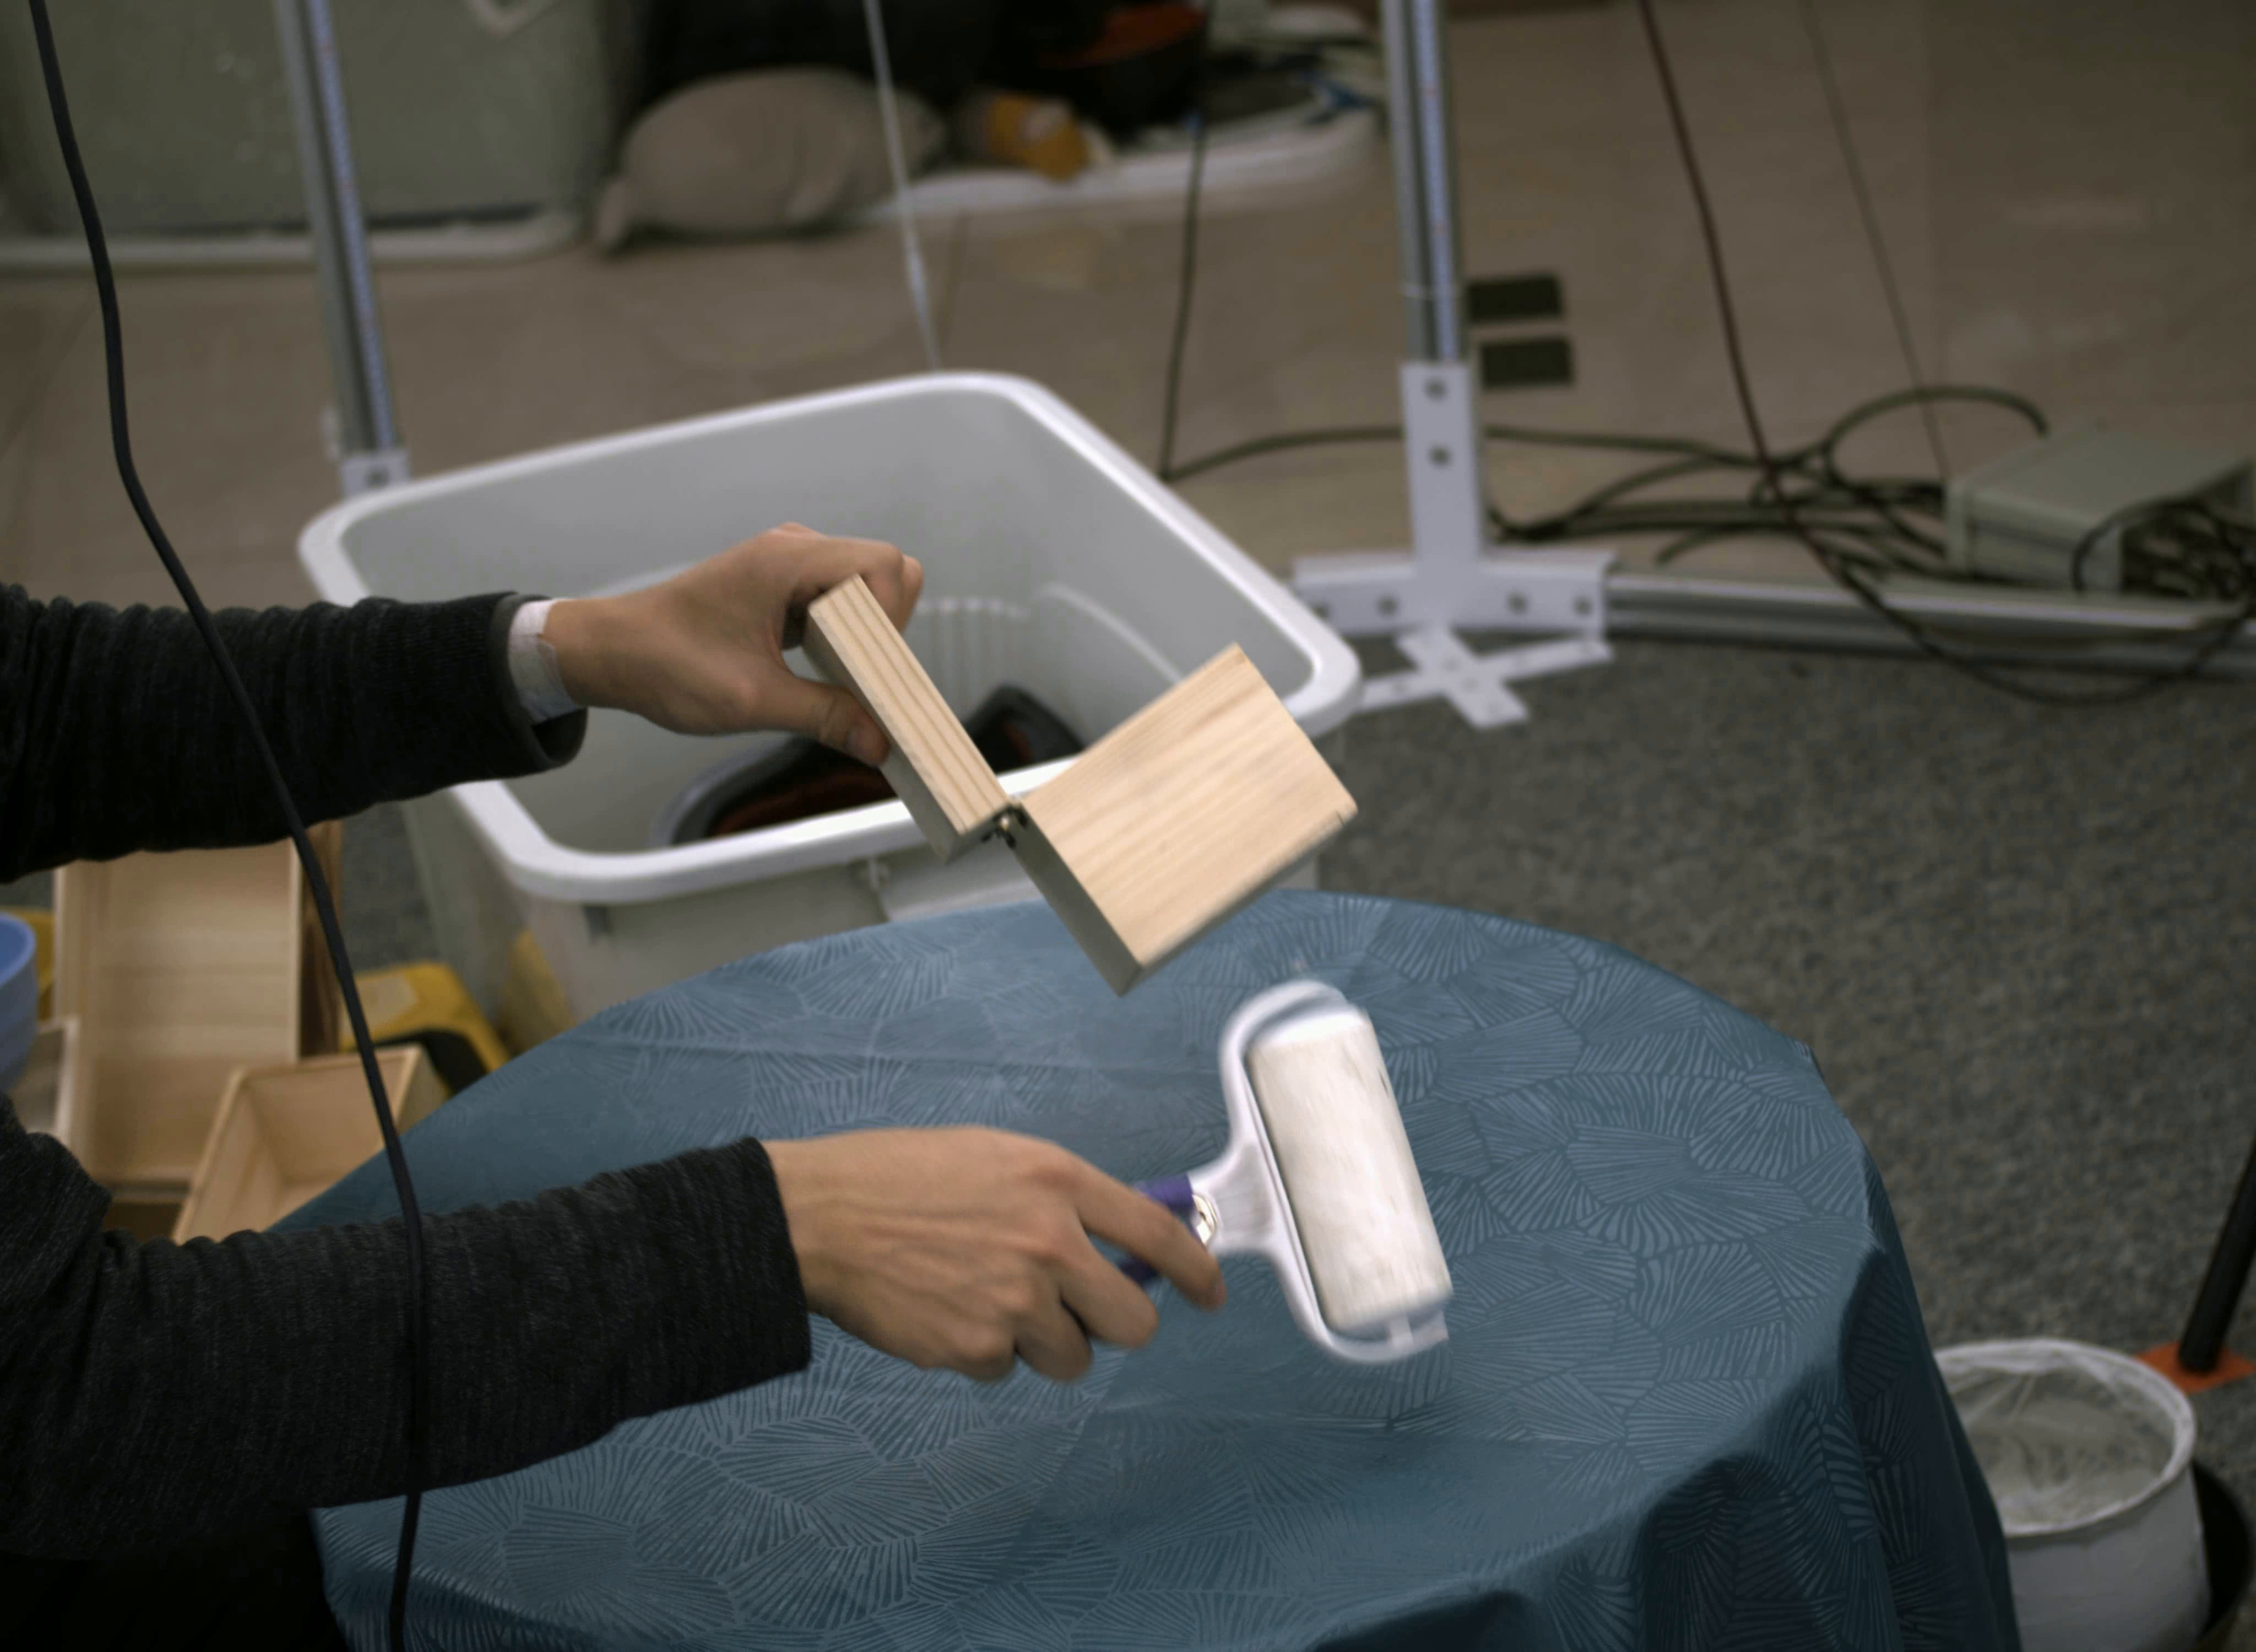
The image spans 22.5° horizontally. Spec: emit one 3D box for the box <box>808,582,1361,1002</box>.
[{"bbox_3d":[-0.018,-0.035,2.126,0.133,0.184,0.103,-36,-2,-7],"label":"box"}]

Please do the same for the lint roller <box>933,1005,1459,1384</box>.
[{"bbox_3d":[0.020,0.140,1.941,0.180,0.133,0.050,-12,-5,-25],"label":"lint roller"}]
